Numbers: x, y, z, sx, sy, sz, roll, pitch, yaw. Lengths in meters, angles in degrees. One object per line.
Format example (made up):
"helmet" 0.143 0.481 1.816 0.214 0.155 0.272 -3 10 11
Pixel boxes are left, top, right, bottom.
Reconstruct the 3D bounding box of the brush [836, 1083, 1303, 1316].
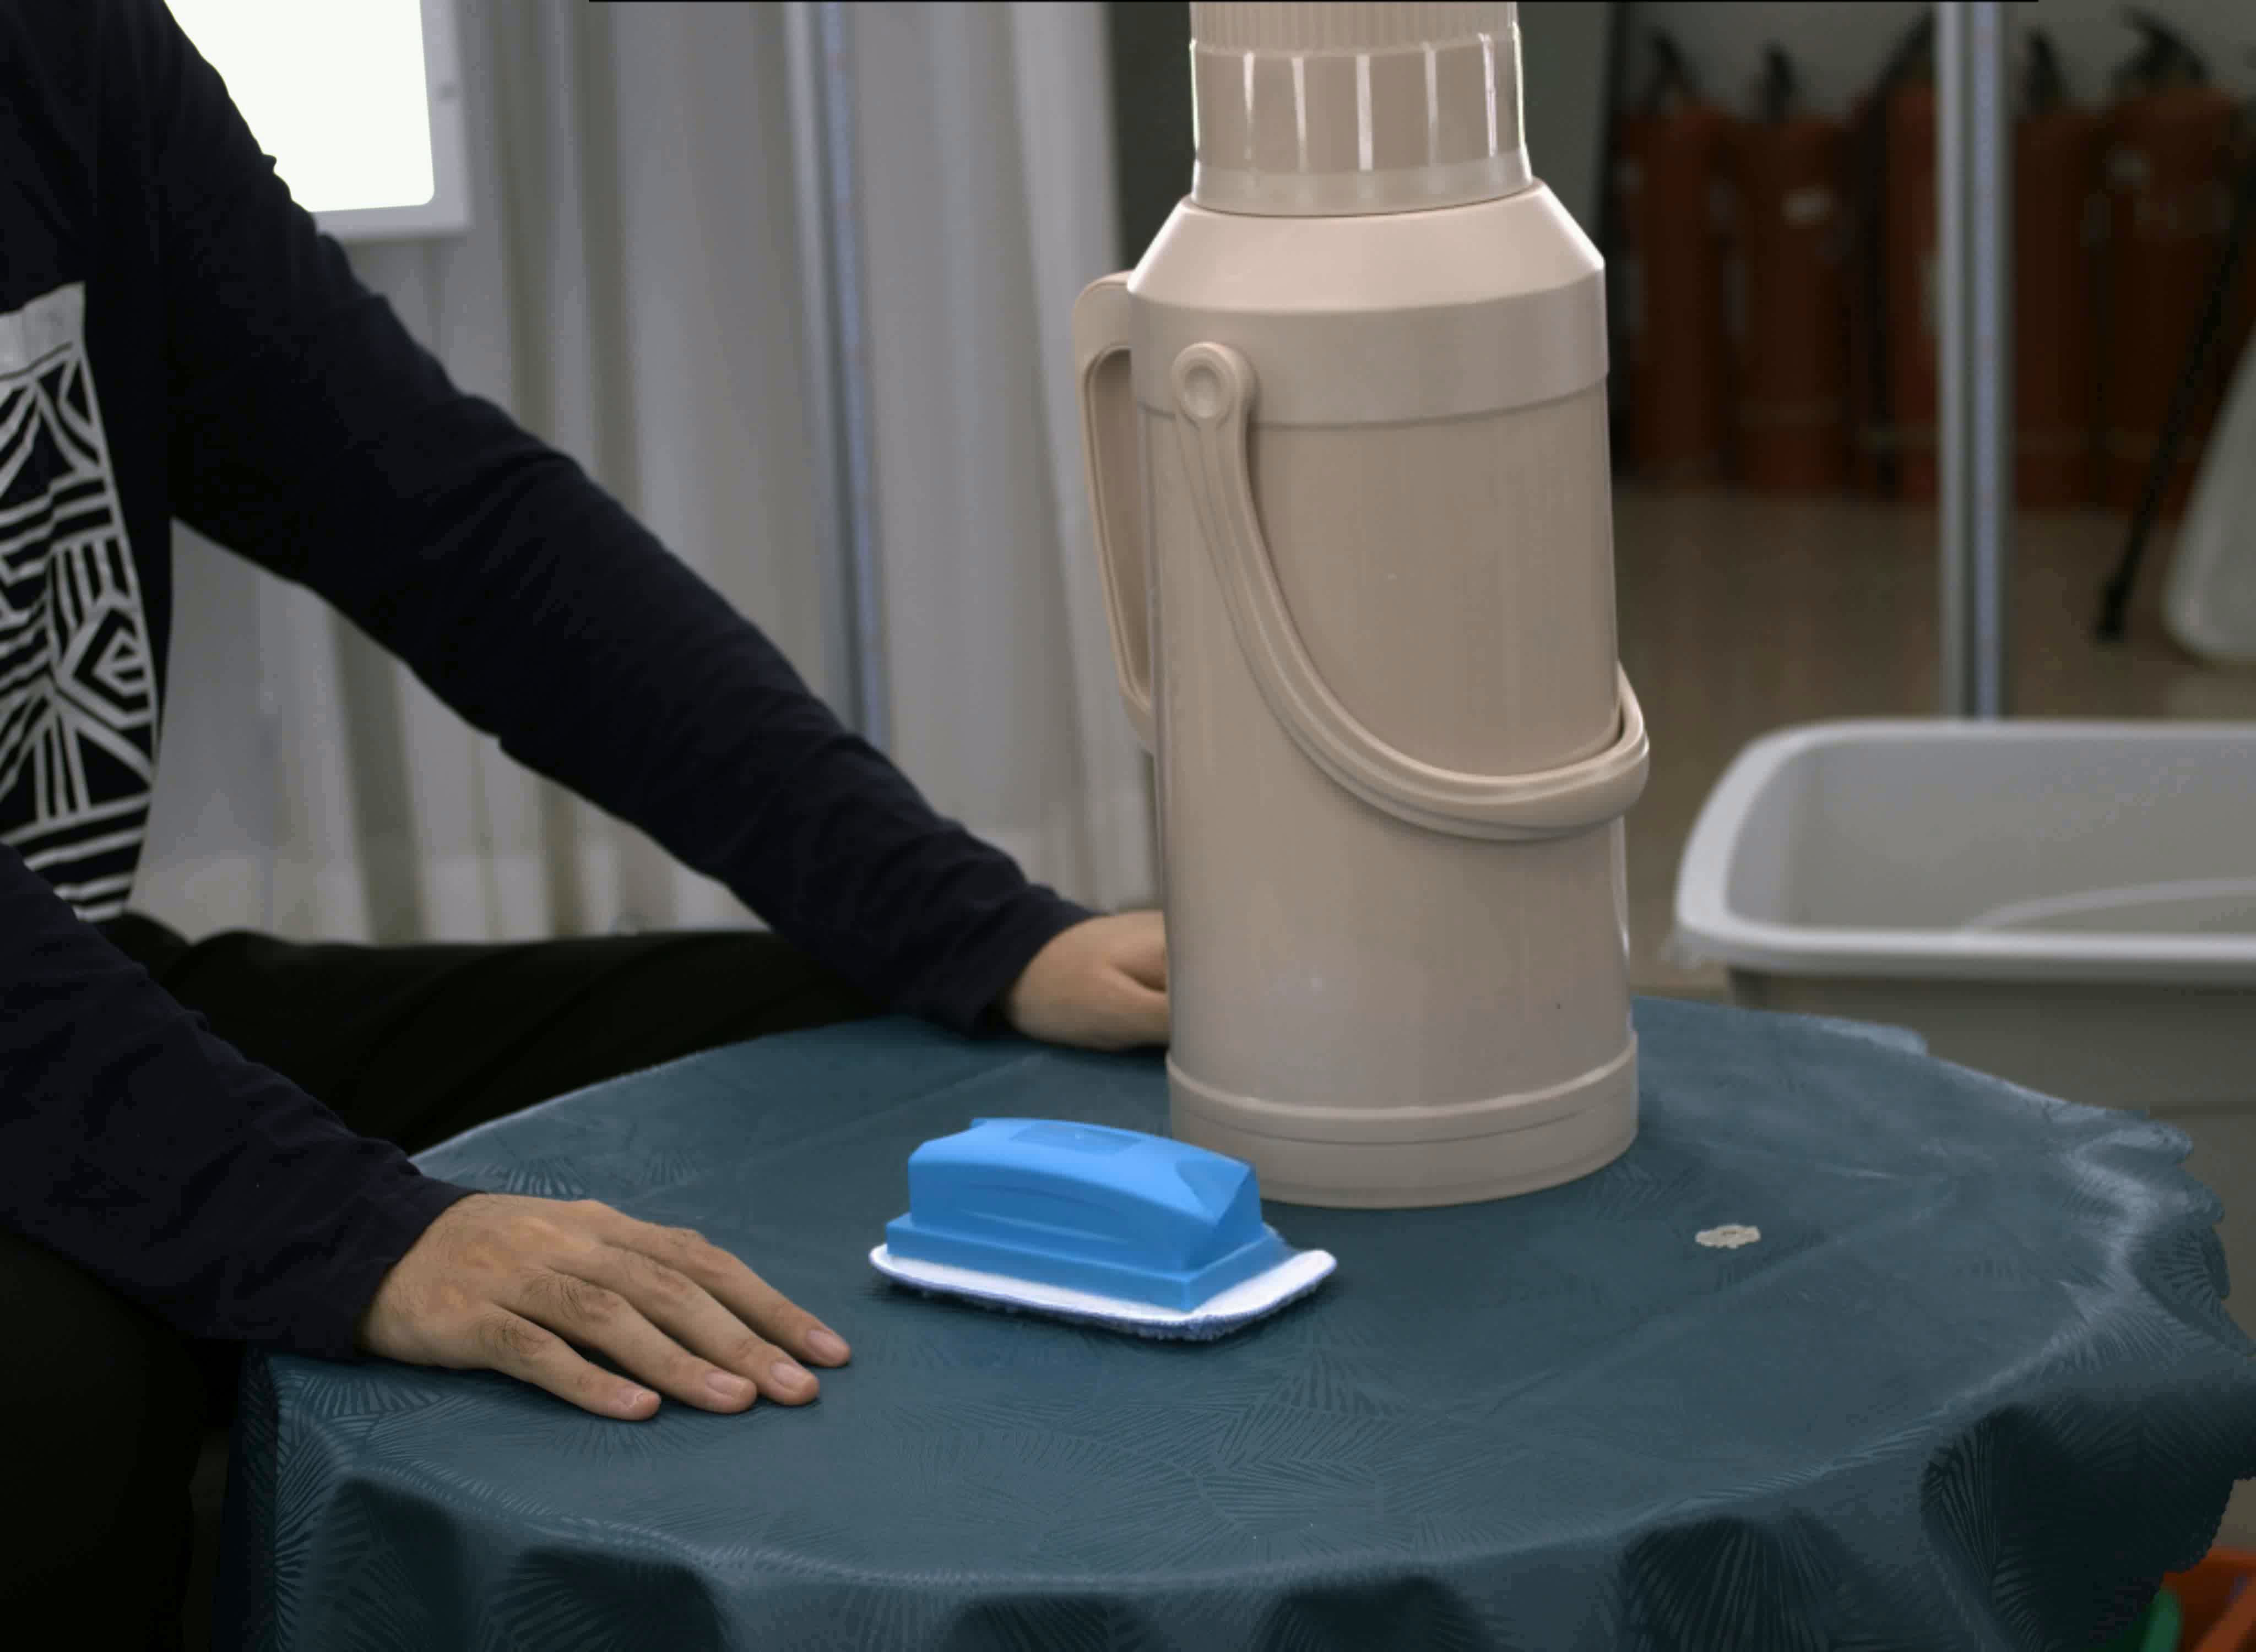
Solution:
"brush" -0.018 0.114 1.676 0.145 0.056 0.082 12 16 38

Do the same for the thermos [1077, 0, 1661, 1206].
"thermos" 0.075 -0.091 1.778 0.208 0.410 0.172 6 18 39
